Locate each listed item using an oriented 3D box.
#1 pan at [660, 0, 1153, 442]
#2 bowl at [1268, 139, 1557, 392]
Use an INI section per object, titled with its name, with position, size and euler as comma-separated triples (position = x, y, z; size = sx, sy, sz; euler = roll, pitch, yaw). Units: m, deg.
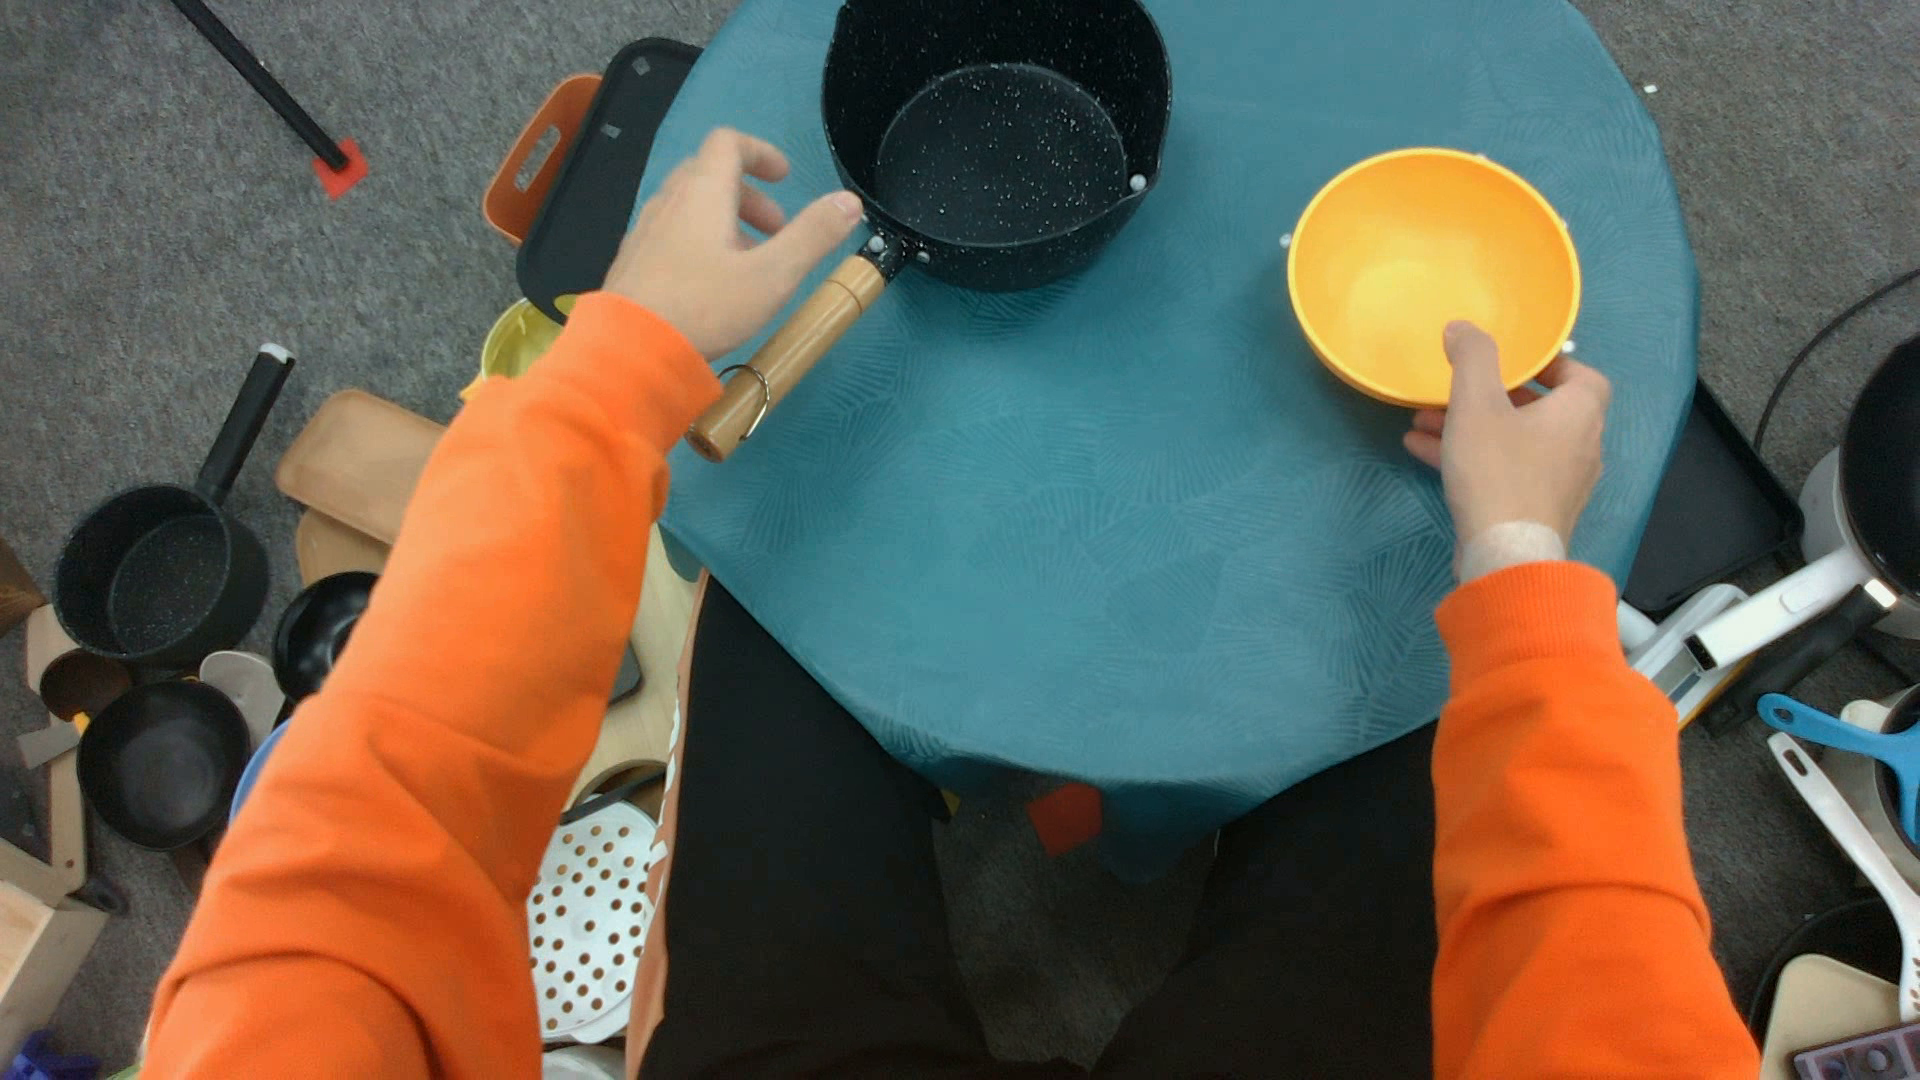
[pan]
position = -0.034, -0.172, 0.731
size = 0.207, 0.108, 0.343
euler = 32, 76, 10
[bowl]
position = 0.234, -0.136, 0.733
size = 0.145, 0.060, 0.145
euler = -1, 72, 4
